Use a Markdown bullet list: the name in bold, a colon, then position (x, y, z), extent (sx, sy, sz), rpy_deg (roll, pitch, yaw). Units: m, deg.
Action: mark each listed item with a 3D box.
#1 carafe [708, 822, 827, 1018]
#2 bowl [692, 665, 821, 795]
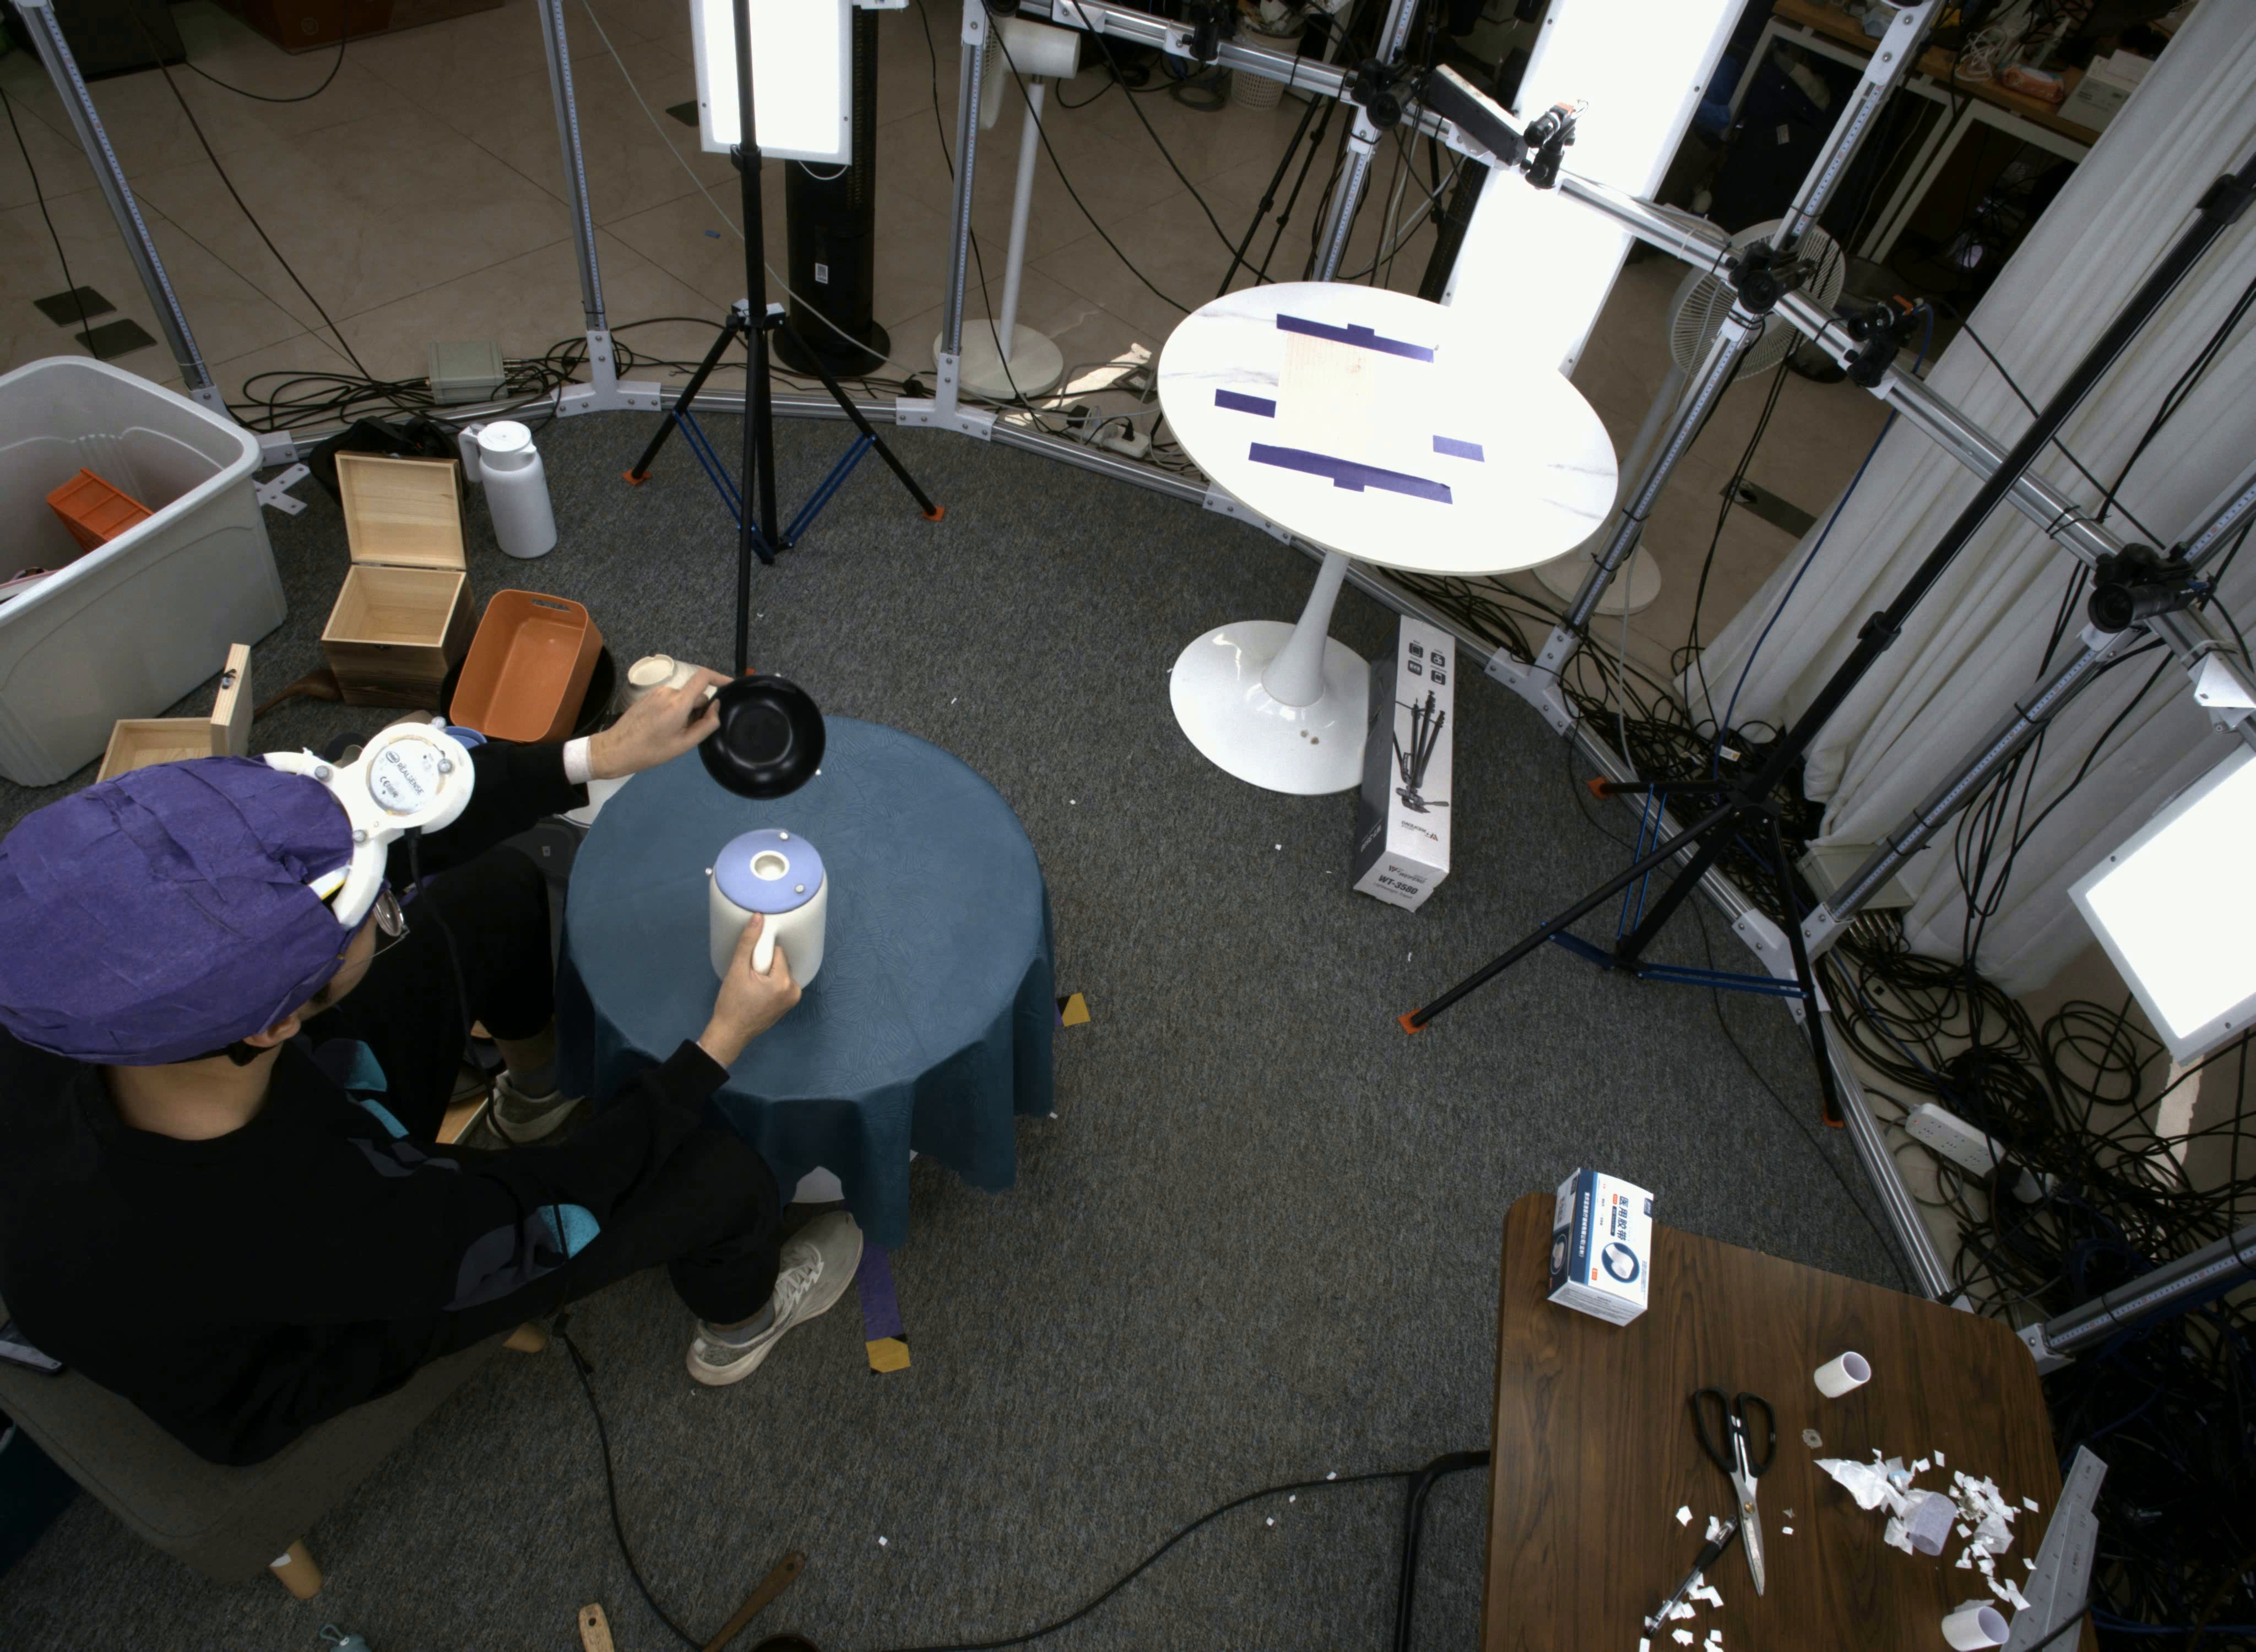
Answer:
- **carafe**: position (-0.412, 0.118, 1.480), extent (0.132, 0.186, 0.187), rpy_deg (2, 52, -14)
- **bowl**: position (-0.411, -0.107, 1.427), extent (0.140, 0.143, 0.048), rpy_deg (-6, 12, -18)
